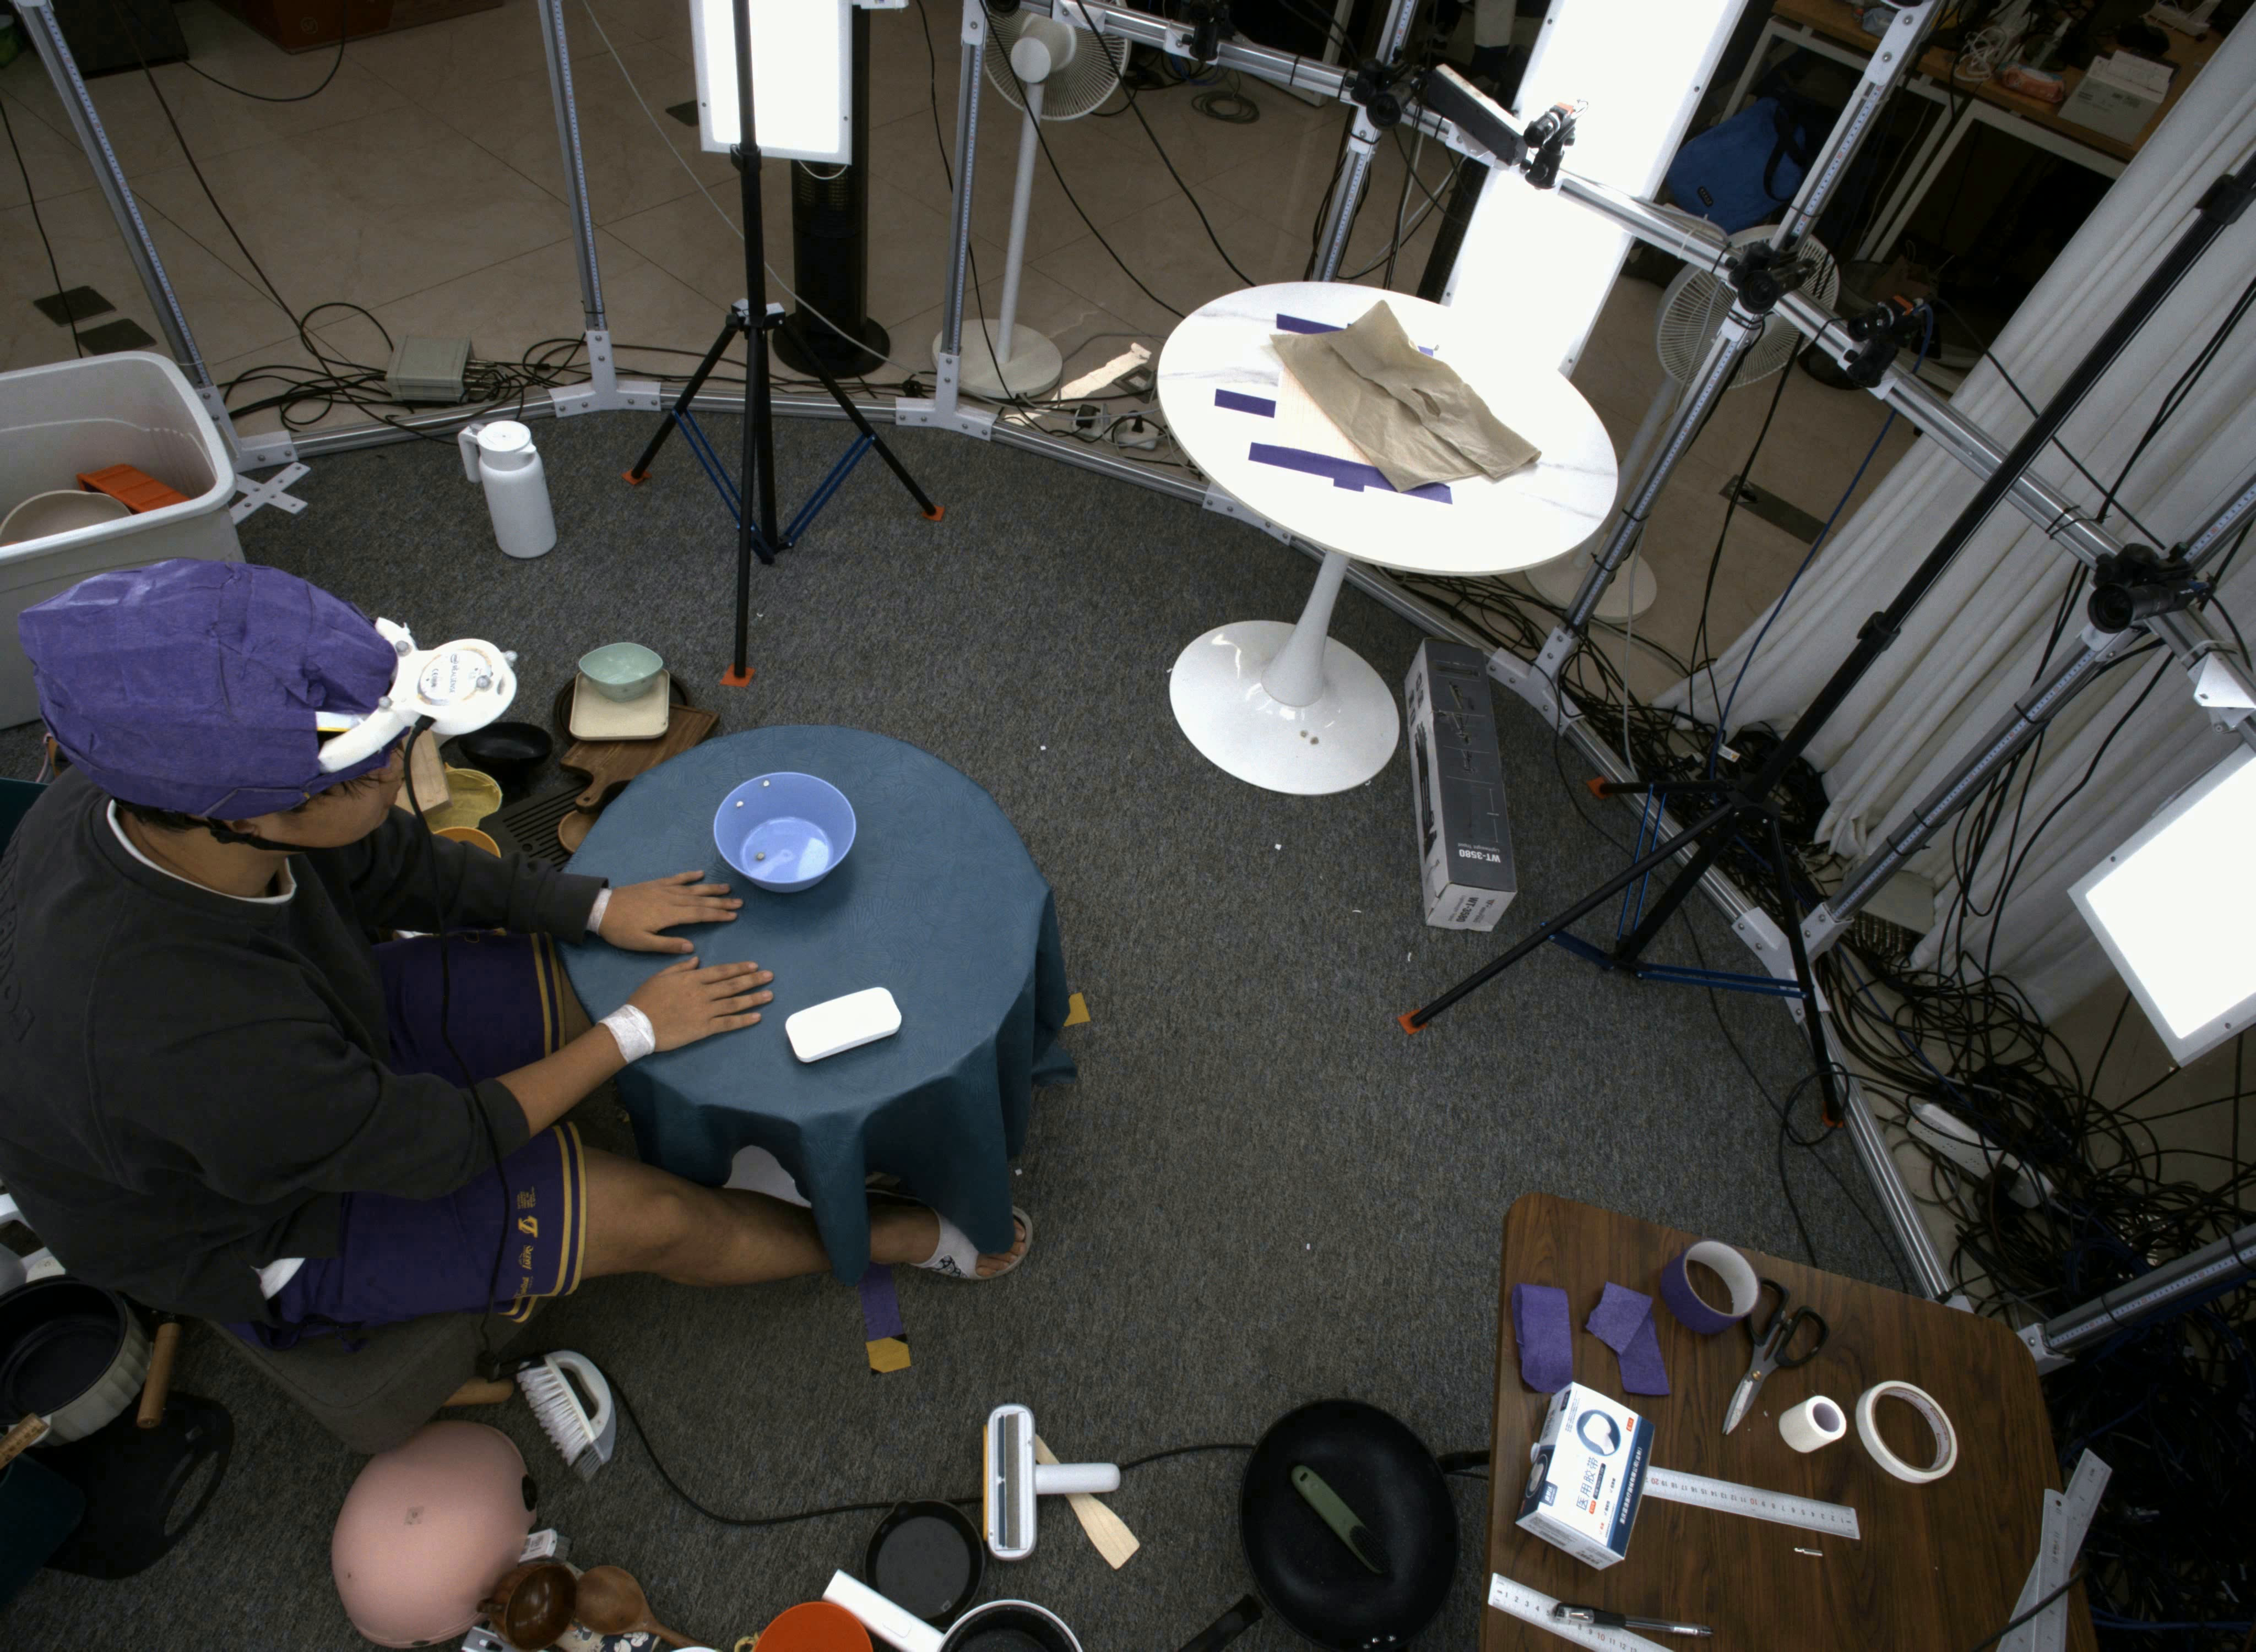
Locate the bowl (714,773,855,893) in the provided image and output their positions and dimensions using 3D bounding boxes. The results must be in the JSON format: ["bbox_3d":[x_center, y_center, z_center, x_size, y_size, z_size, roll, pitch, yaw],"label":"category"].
[{"bbox_3d":[-0.439,0.019,1.665,0.175,0.072,0.173,8,51,-8],"label":"bowl"}]

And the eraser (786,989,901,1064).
[{"bbox_3d":[-0.341,0.235,1.554,0.132,0.035,0.062,-14,57,-26],"label":"eraser"}]
